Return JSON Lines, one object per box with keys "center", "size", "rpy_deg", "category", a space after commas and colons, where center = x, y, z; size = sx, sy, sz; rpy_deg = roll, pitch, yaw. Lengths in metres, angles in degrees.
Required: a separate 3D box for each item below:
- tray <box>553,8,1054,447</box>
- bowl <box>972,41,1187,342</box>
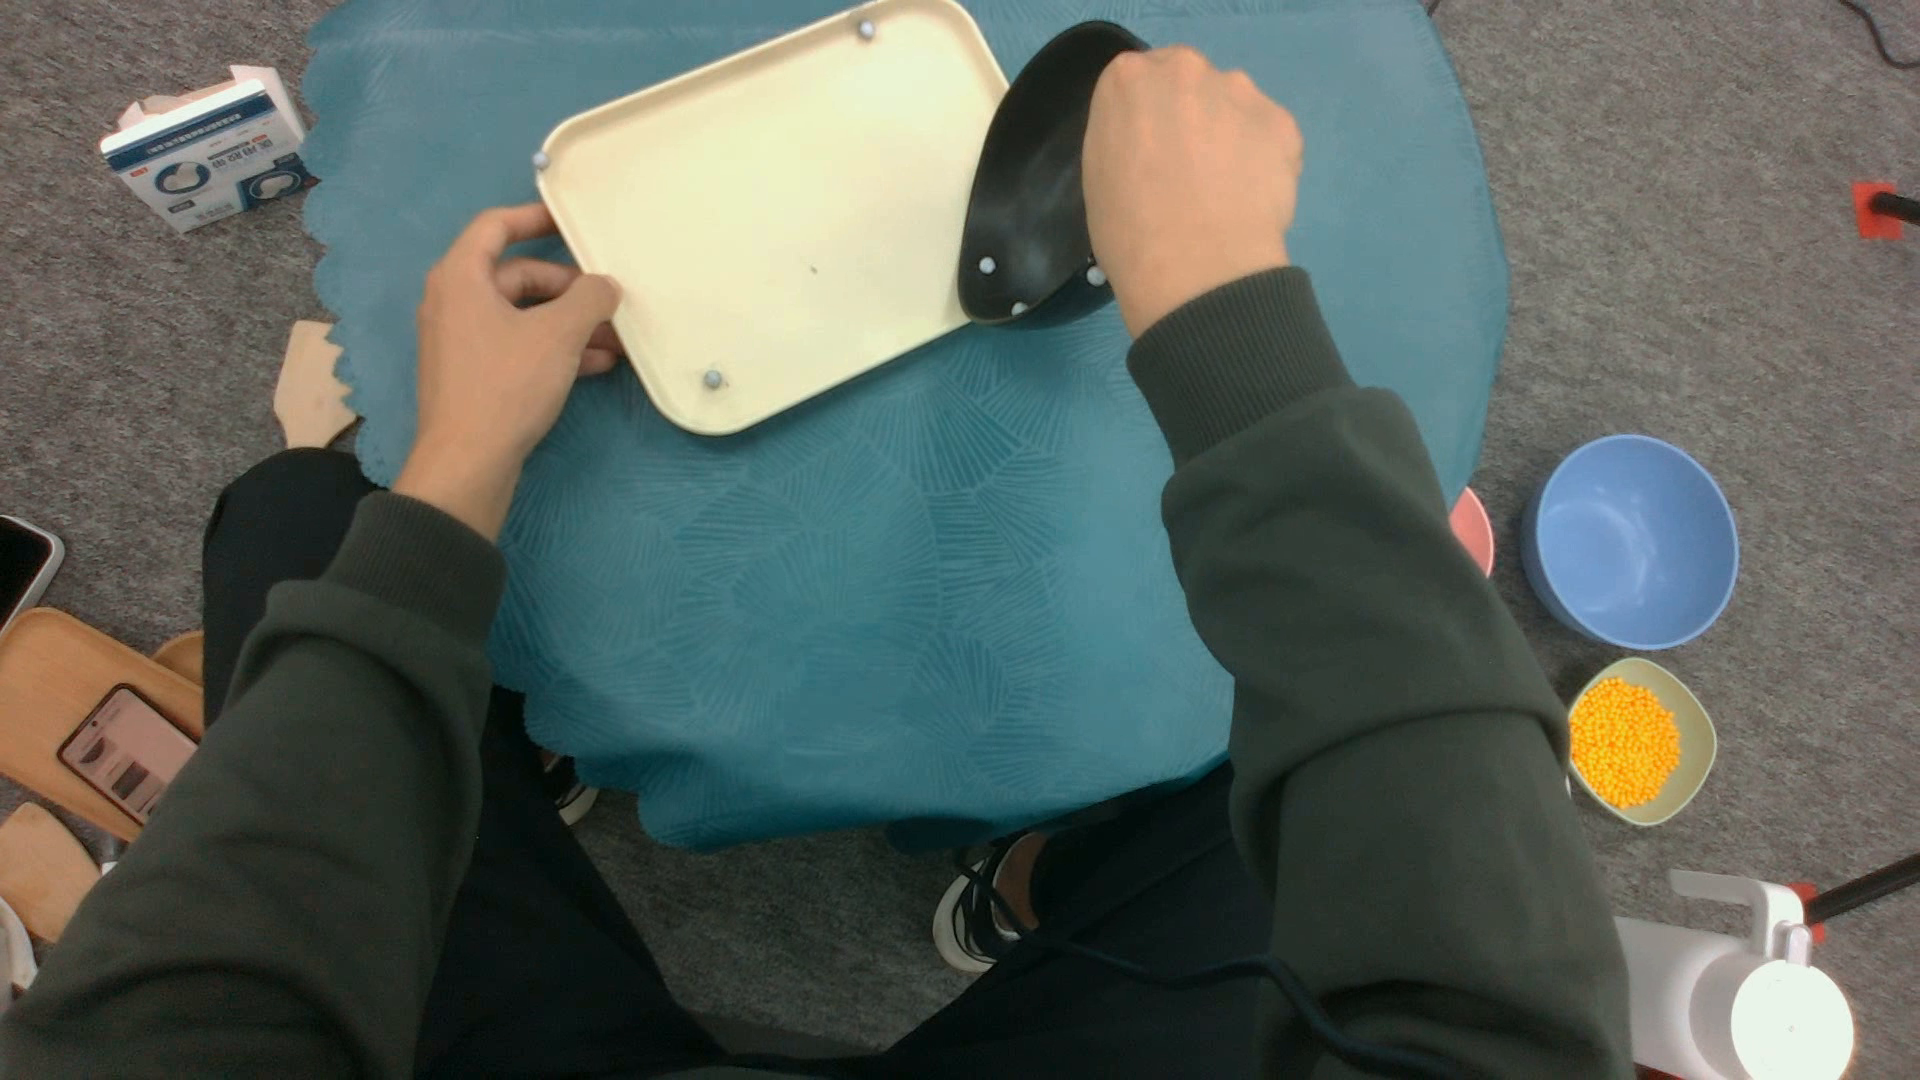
{"center": [-0.068, -0.162, 0.703], "size": [0.240, 0.017, 0.171], "rpy_deg": [-28, 87, -15], "category": "tray"}
{"center": [0.061, -0.154, 0.655], "size": [0.067, 0.170, 0.137], "rpy_deg": [13, 81, -26], "category": "bowl"}
